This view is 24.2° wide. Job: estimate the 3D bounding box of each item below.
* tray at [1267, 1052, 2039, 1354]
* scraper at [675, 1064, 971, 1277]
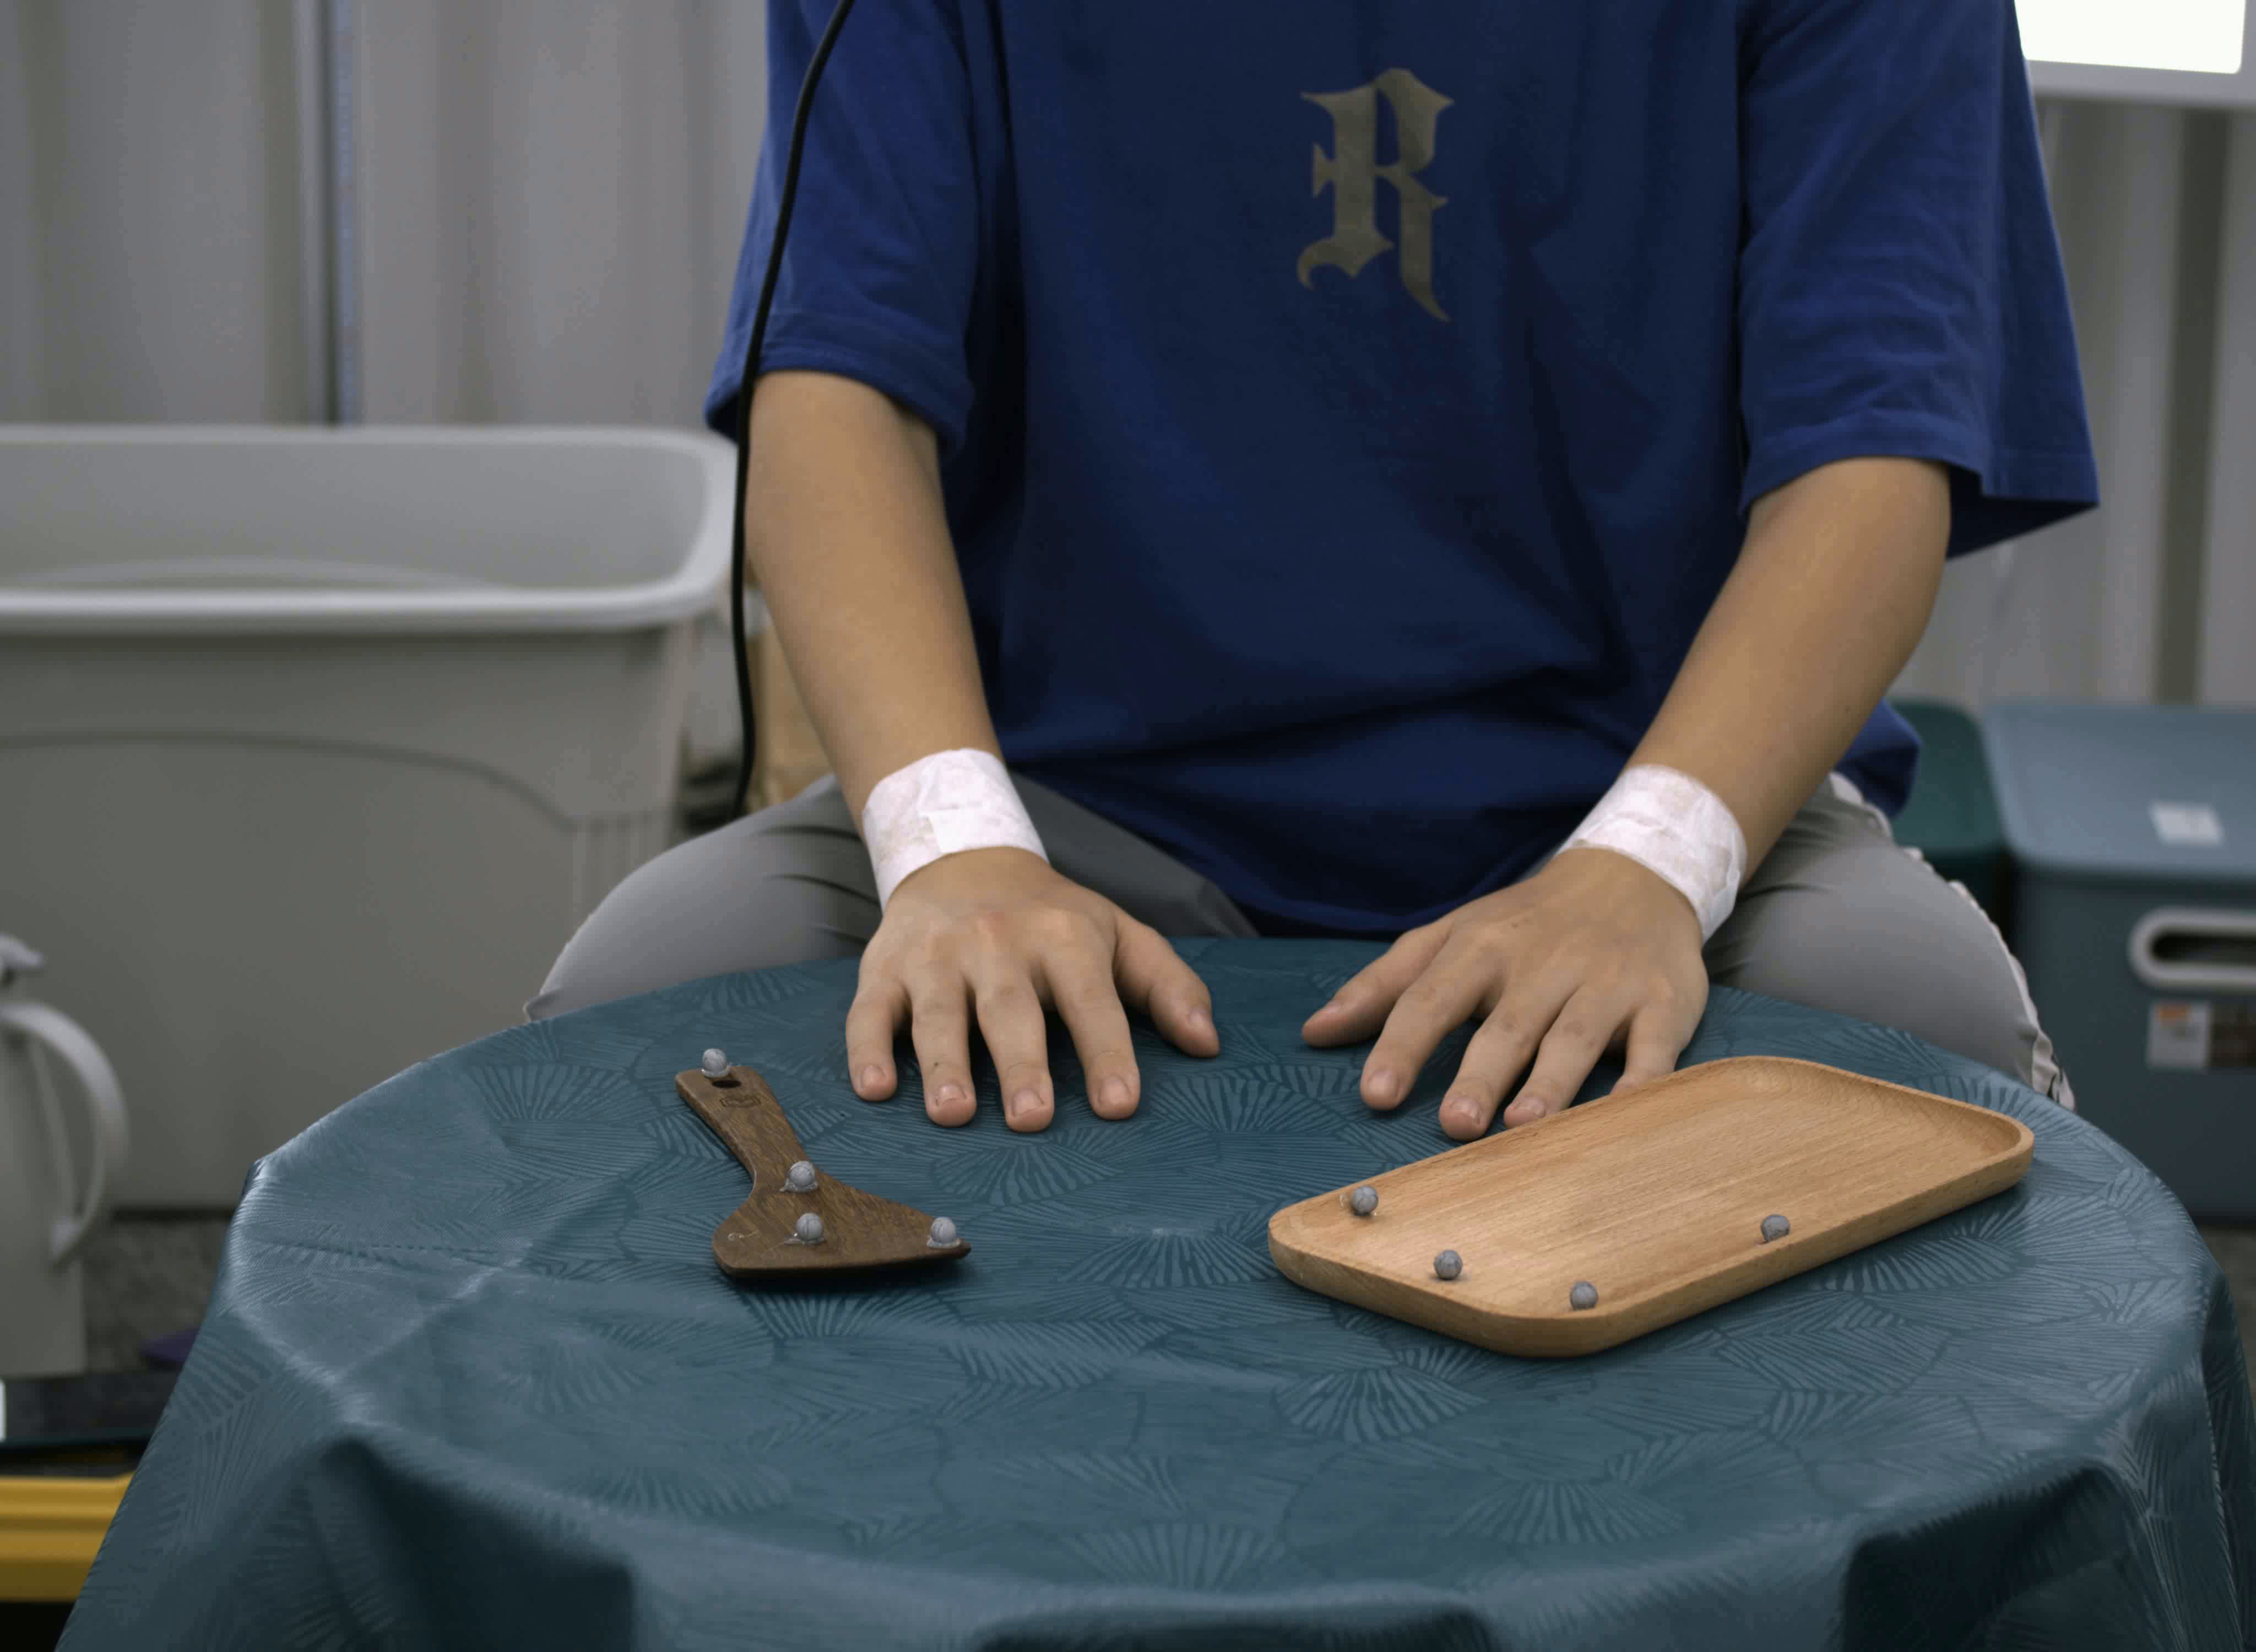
[{"bbox_3d":[0.162,0.112,1.598,0.129,0.023,0.252,19,23,42],"label":"tray"},{"bbox_3d":[-0.107,0.106,1.626,0.076,0.011,0.209,-3,15,-16],"label":"scraper"}]
